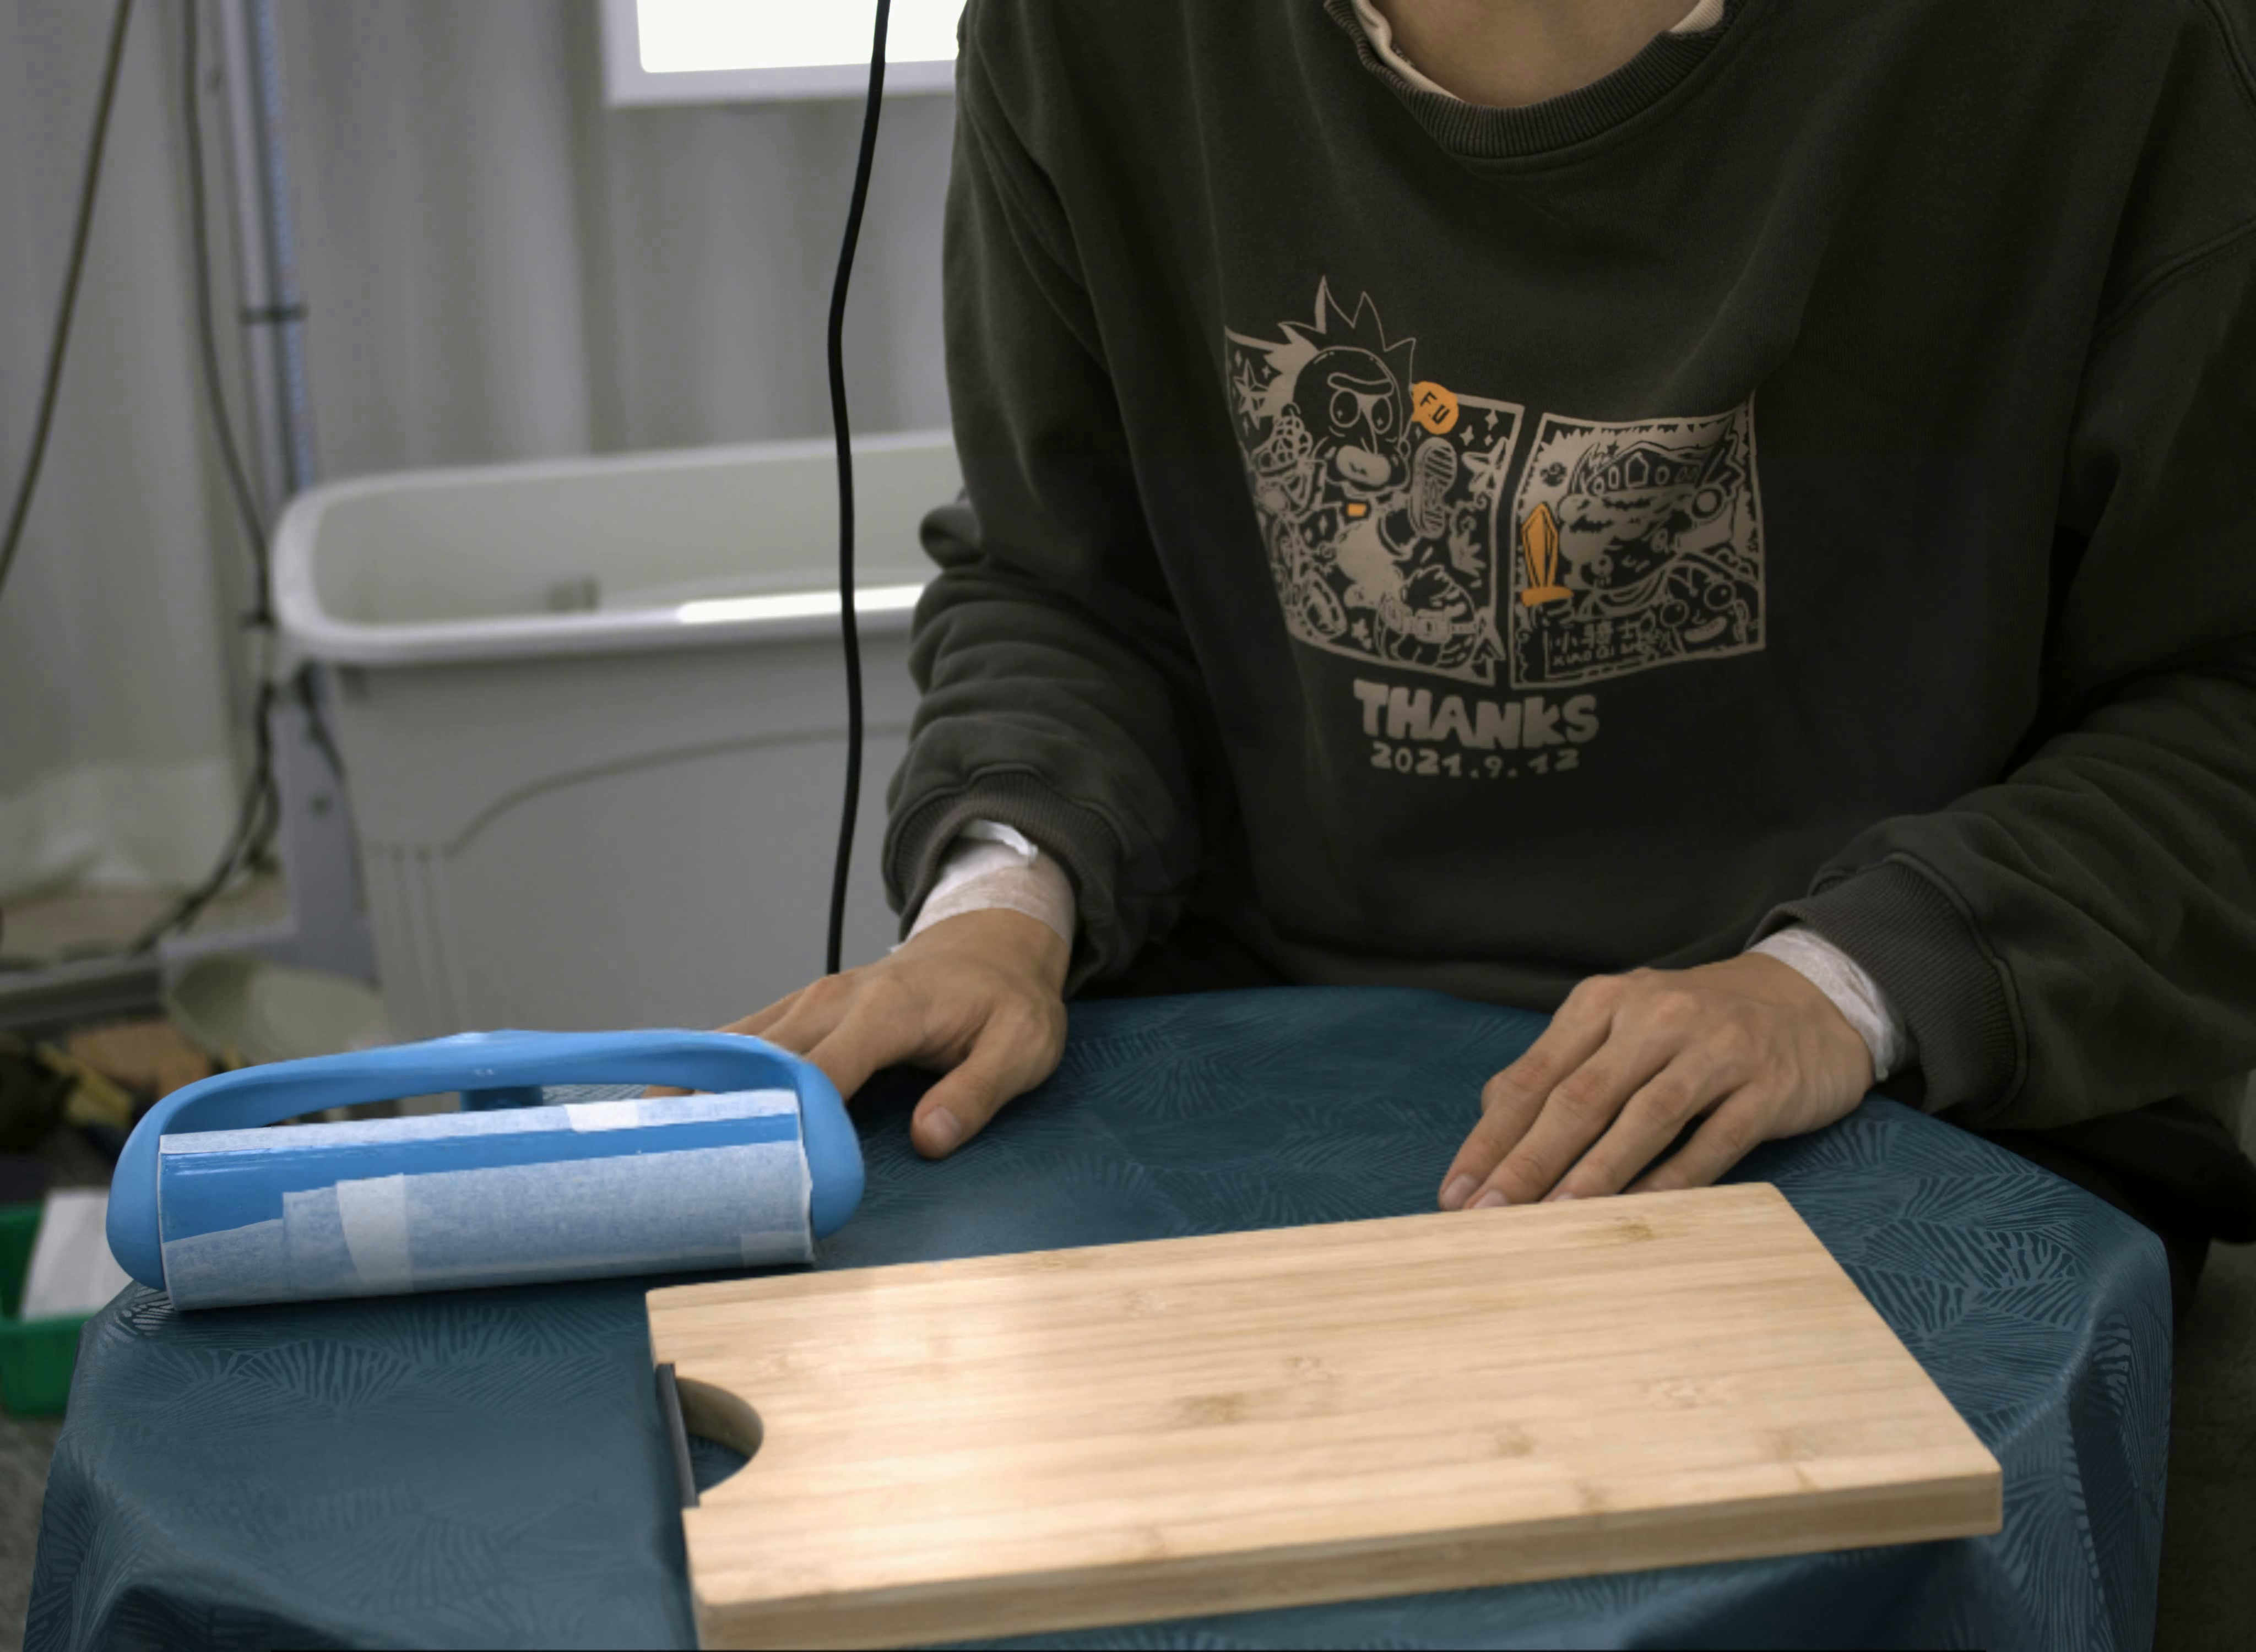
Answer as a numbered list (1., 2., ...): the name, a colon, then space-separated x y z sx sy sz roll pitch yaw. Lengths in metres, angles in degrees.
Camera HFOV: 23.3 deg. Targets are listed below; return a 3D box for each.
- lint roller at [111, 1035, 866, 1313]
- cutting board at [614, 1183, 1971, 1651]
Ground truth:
1. lint roller: -0.201 0.097 1.719 0.228 0.067 0.182 -6 17 -6
2. cutting board: 0.037 0.162 1.511 0.347 0.023 0.252 -5 15 -8
